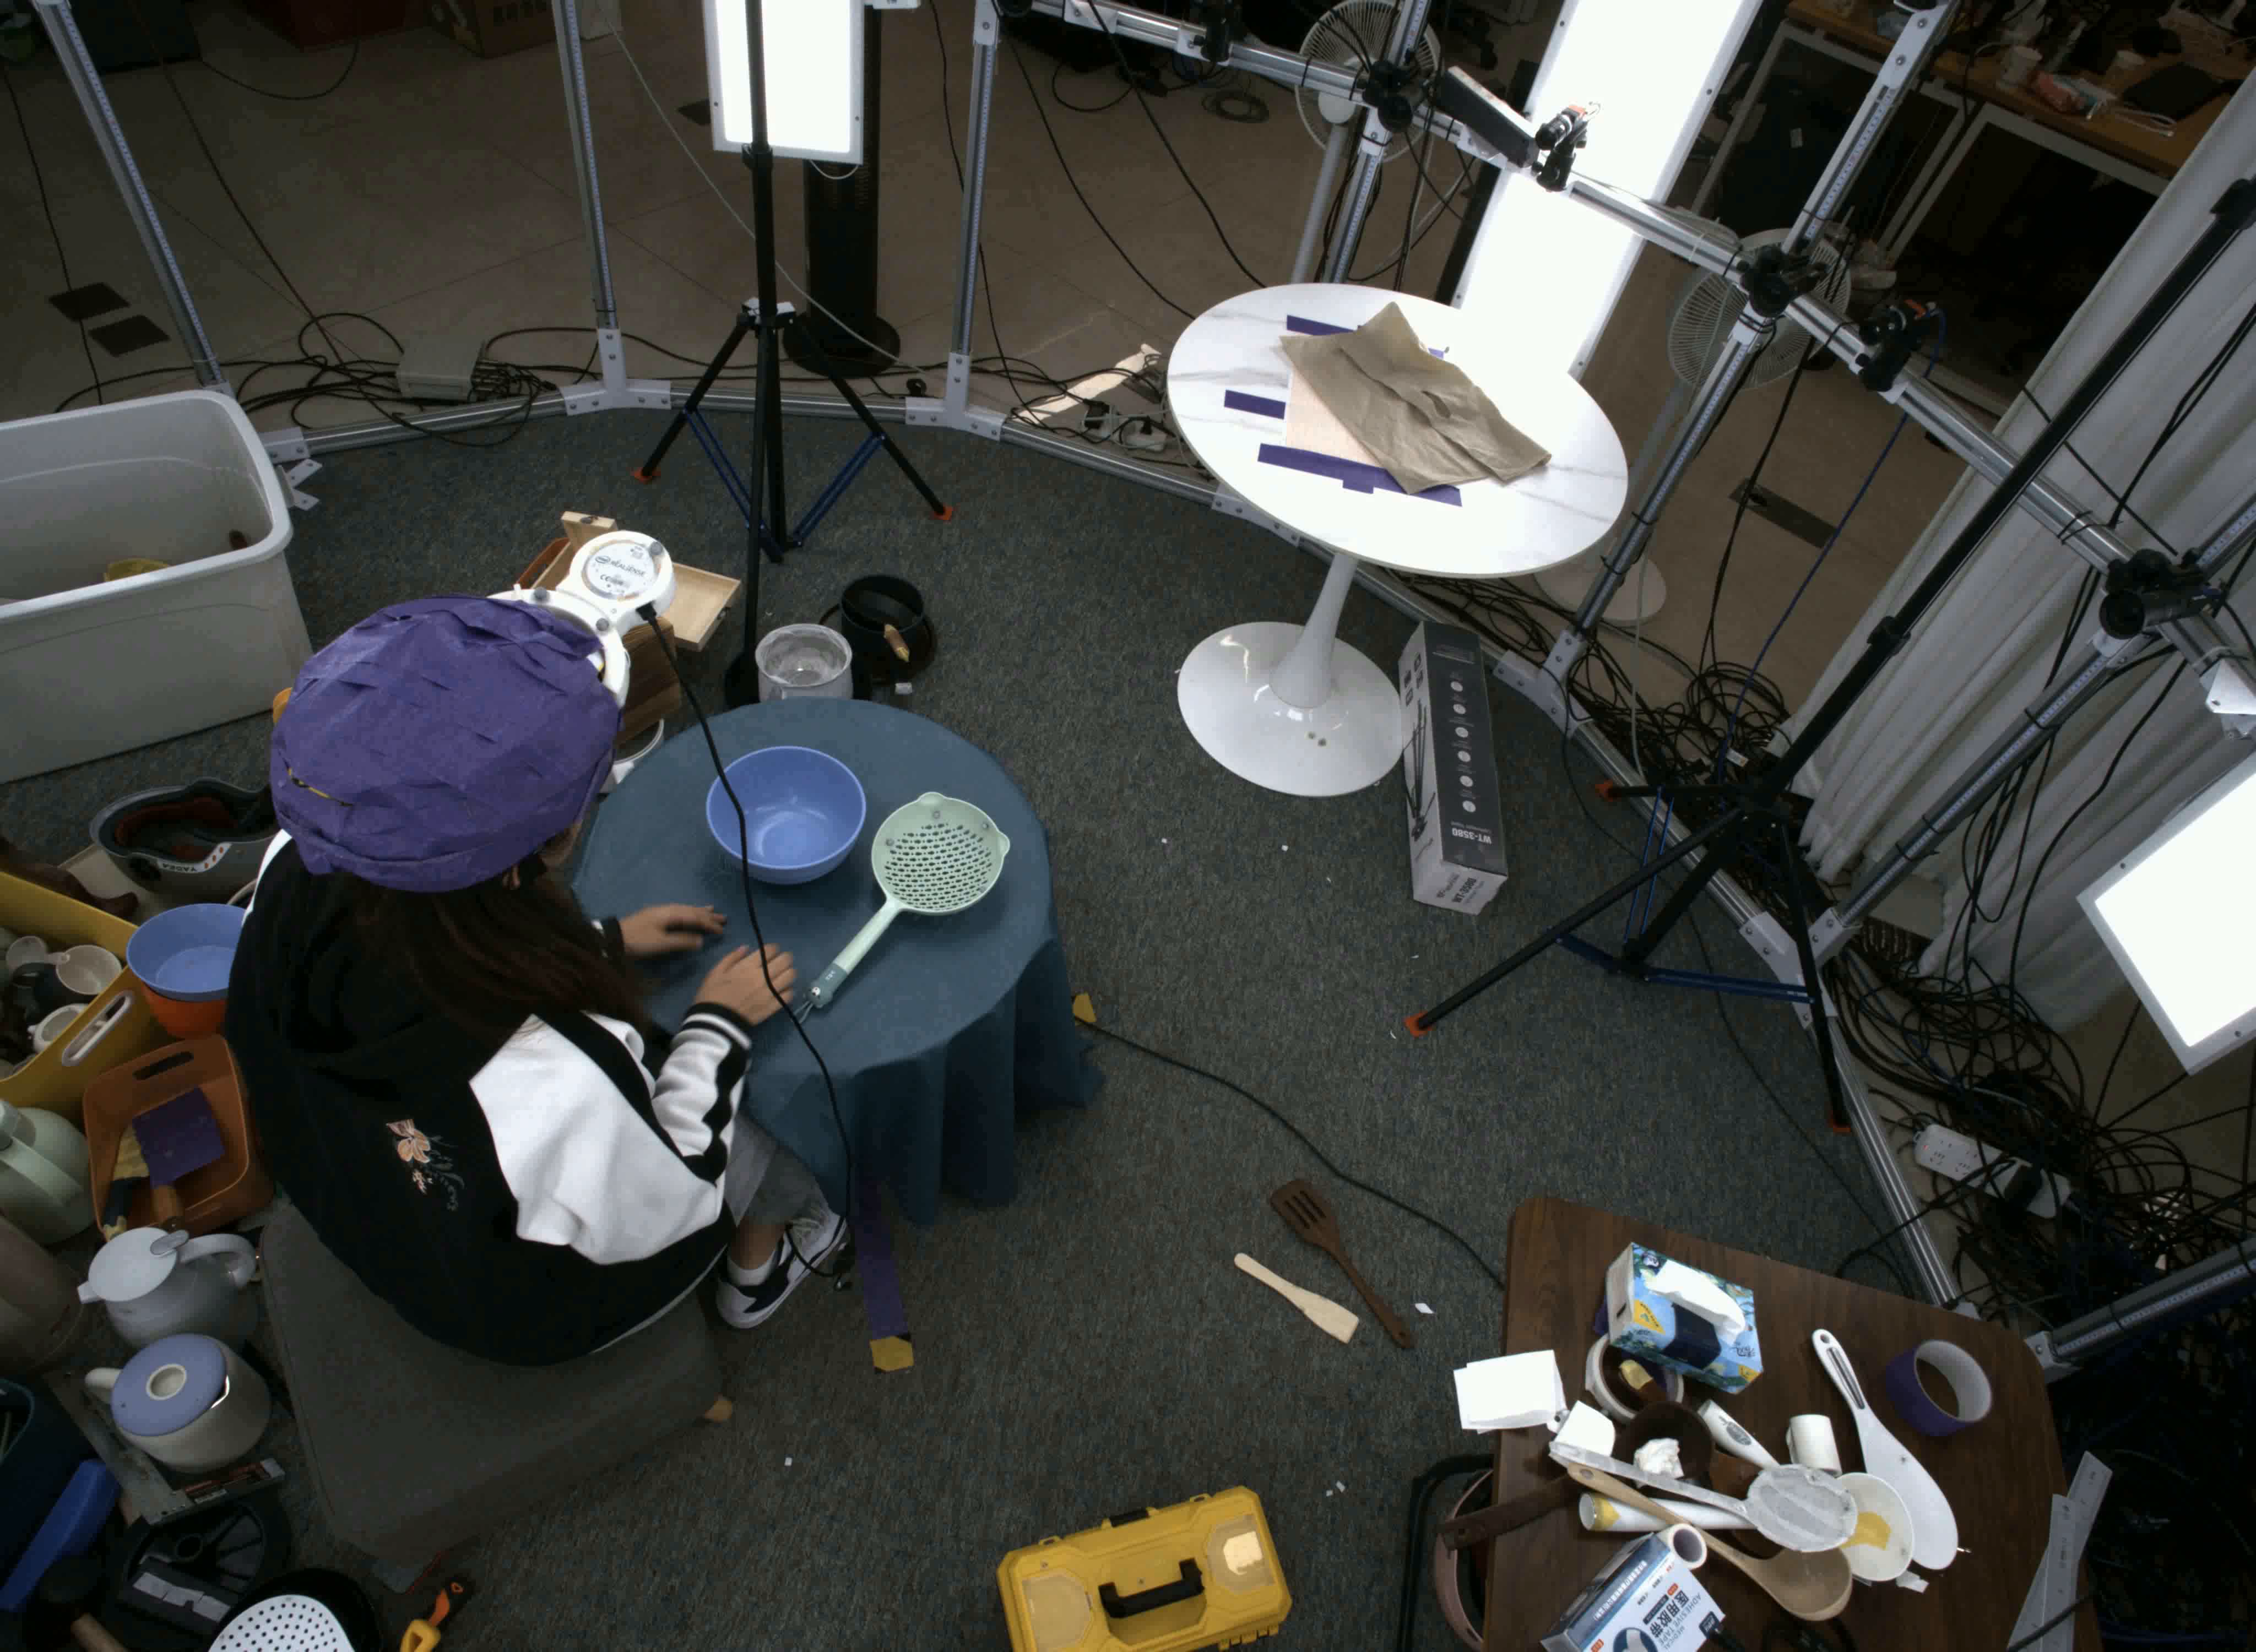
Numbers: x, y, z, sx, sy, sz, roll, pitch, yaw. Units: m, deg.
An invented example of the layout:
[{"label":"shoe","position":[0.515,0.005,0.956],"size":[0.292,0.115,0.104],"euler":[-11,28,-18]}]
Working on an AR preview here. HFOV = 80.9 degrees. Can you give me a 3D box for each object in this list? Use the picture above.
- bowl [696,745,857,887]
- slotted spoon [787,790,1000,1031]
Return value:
[{"label":"bowl","position":[-0.445,0.002,1.650],"size":[0.196,0.097,0.193],"euler":[8,52,-9]},{"label":"slotted spoon","position":[-0.308,0.108,1.632],"size":[0.166,0.077,0.358],"euler":[31,54,11]}]
